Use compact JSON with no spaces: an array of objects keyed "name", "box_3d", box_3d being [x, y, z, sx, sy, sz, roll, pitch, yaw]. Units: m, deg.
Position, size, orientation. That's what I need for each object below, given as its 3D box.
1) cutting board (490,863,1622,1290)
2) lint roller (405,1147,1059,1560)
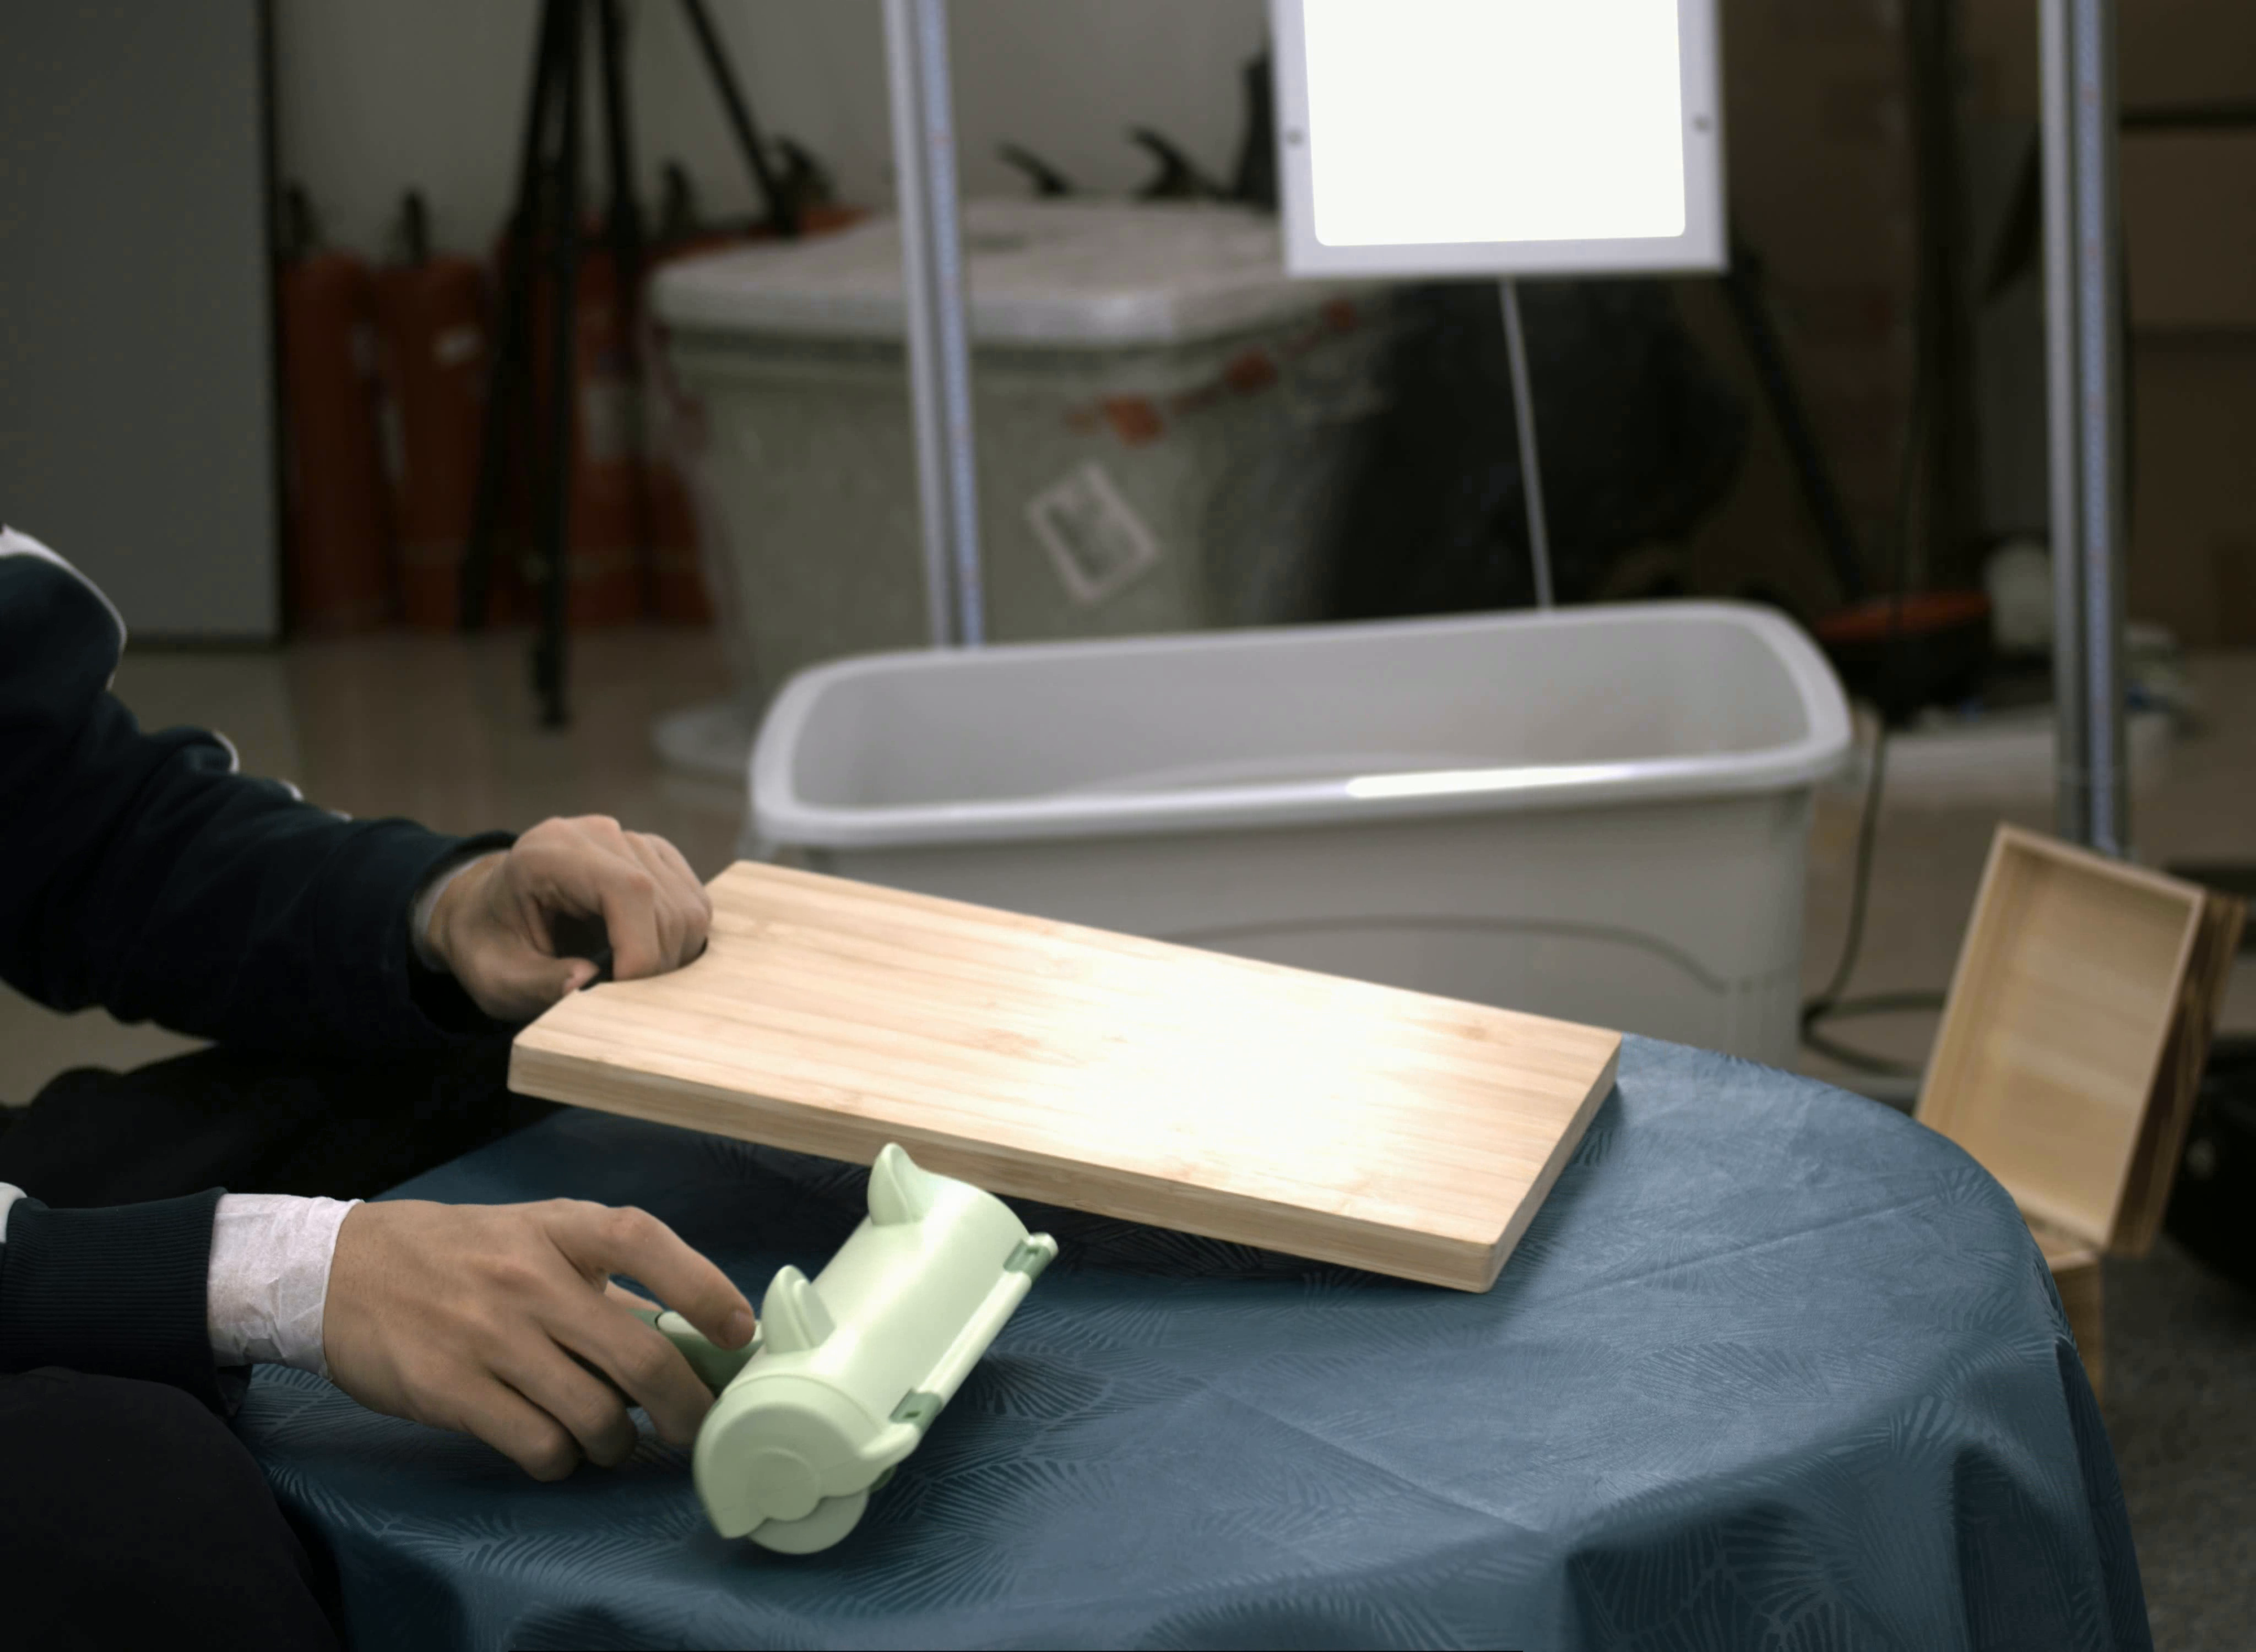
[{"name":"cutting board","box_3d":[-0.018,0.082,1.911,0.351,0.024,0.247,10,17,14]},{"name":"lint roller","box_3d":[-0.131,0.148,1.665,0.185,0.082,0.196,7,16,14]}]
